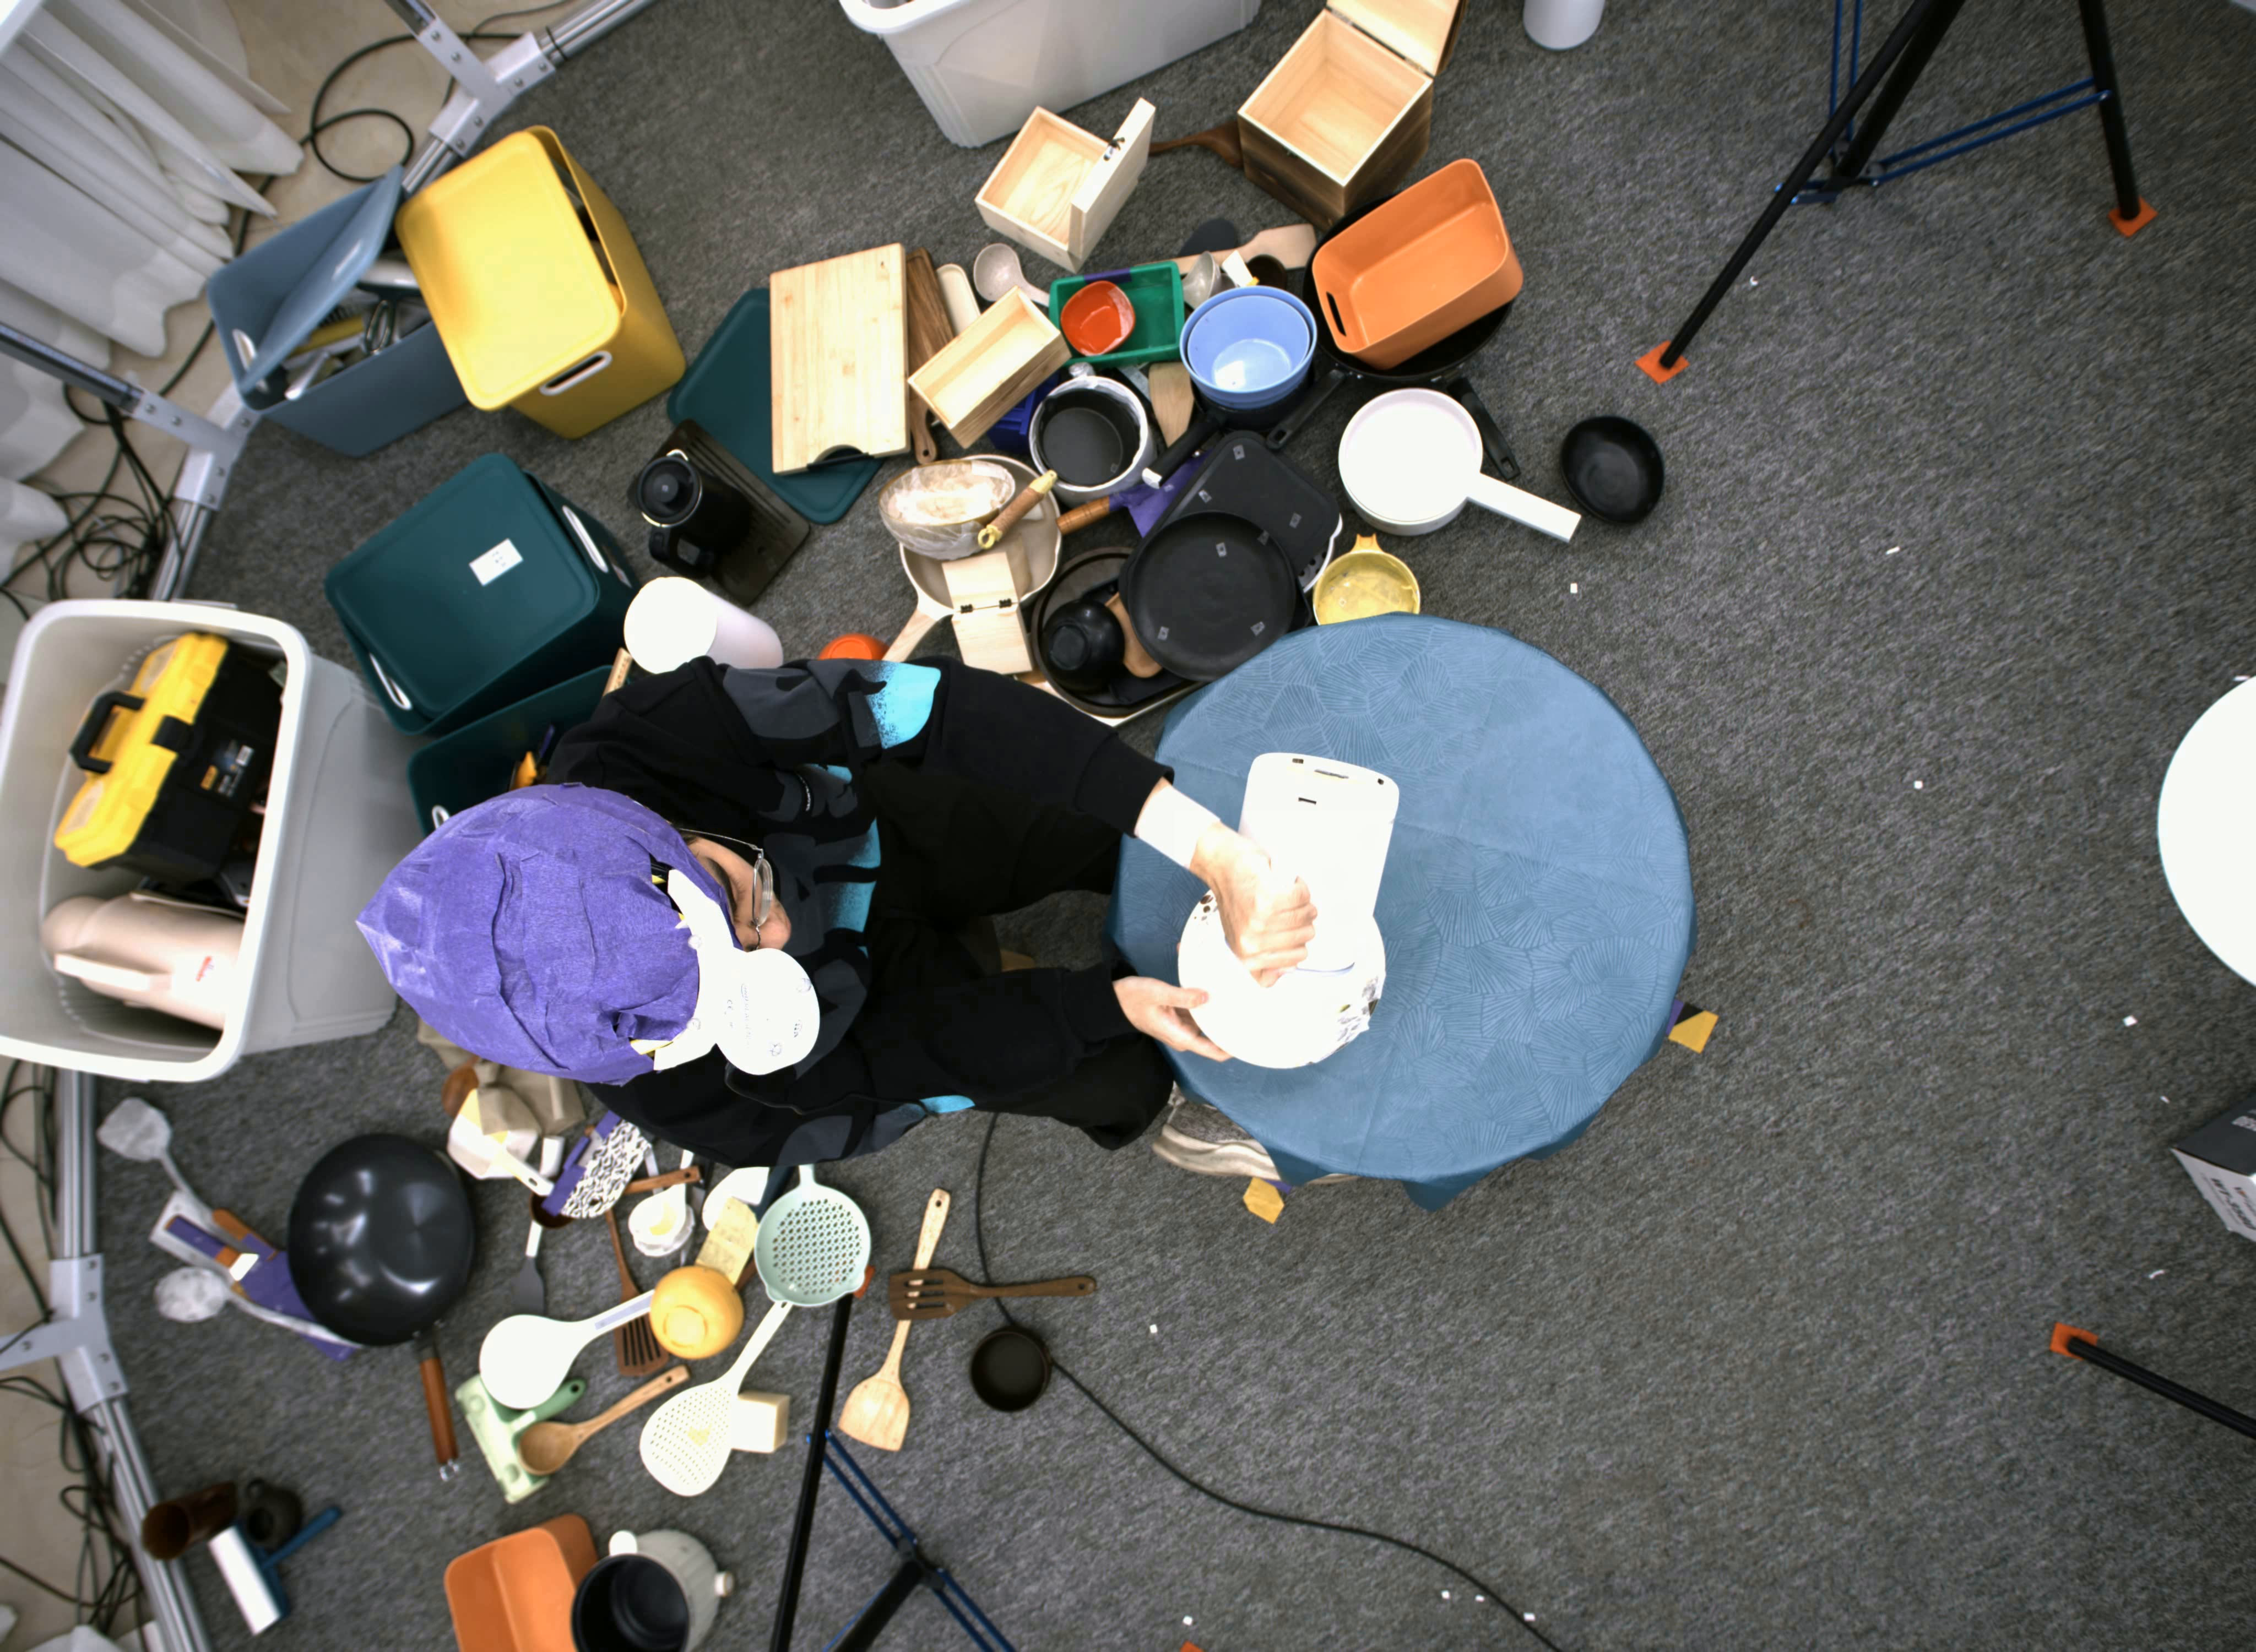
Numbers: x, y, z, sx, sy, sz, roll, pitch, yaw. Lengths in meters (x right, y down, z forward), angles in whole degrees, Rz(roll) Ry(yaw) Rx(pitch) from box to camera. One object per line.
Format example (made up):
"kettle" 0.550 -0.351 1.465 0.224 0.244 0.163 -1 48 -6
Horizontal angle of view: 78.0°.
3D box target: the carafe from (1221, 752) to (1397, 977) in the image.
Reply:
"carafe" 0.147 0.034 1.189 0.132 0.189 0.184 14 102 19

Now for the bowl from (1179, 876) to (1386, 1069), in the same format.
"bowl" 0.157 0.142 1.394 0.205 0.078 0.202 -2 81 12
